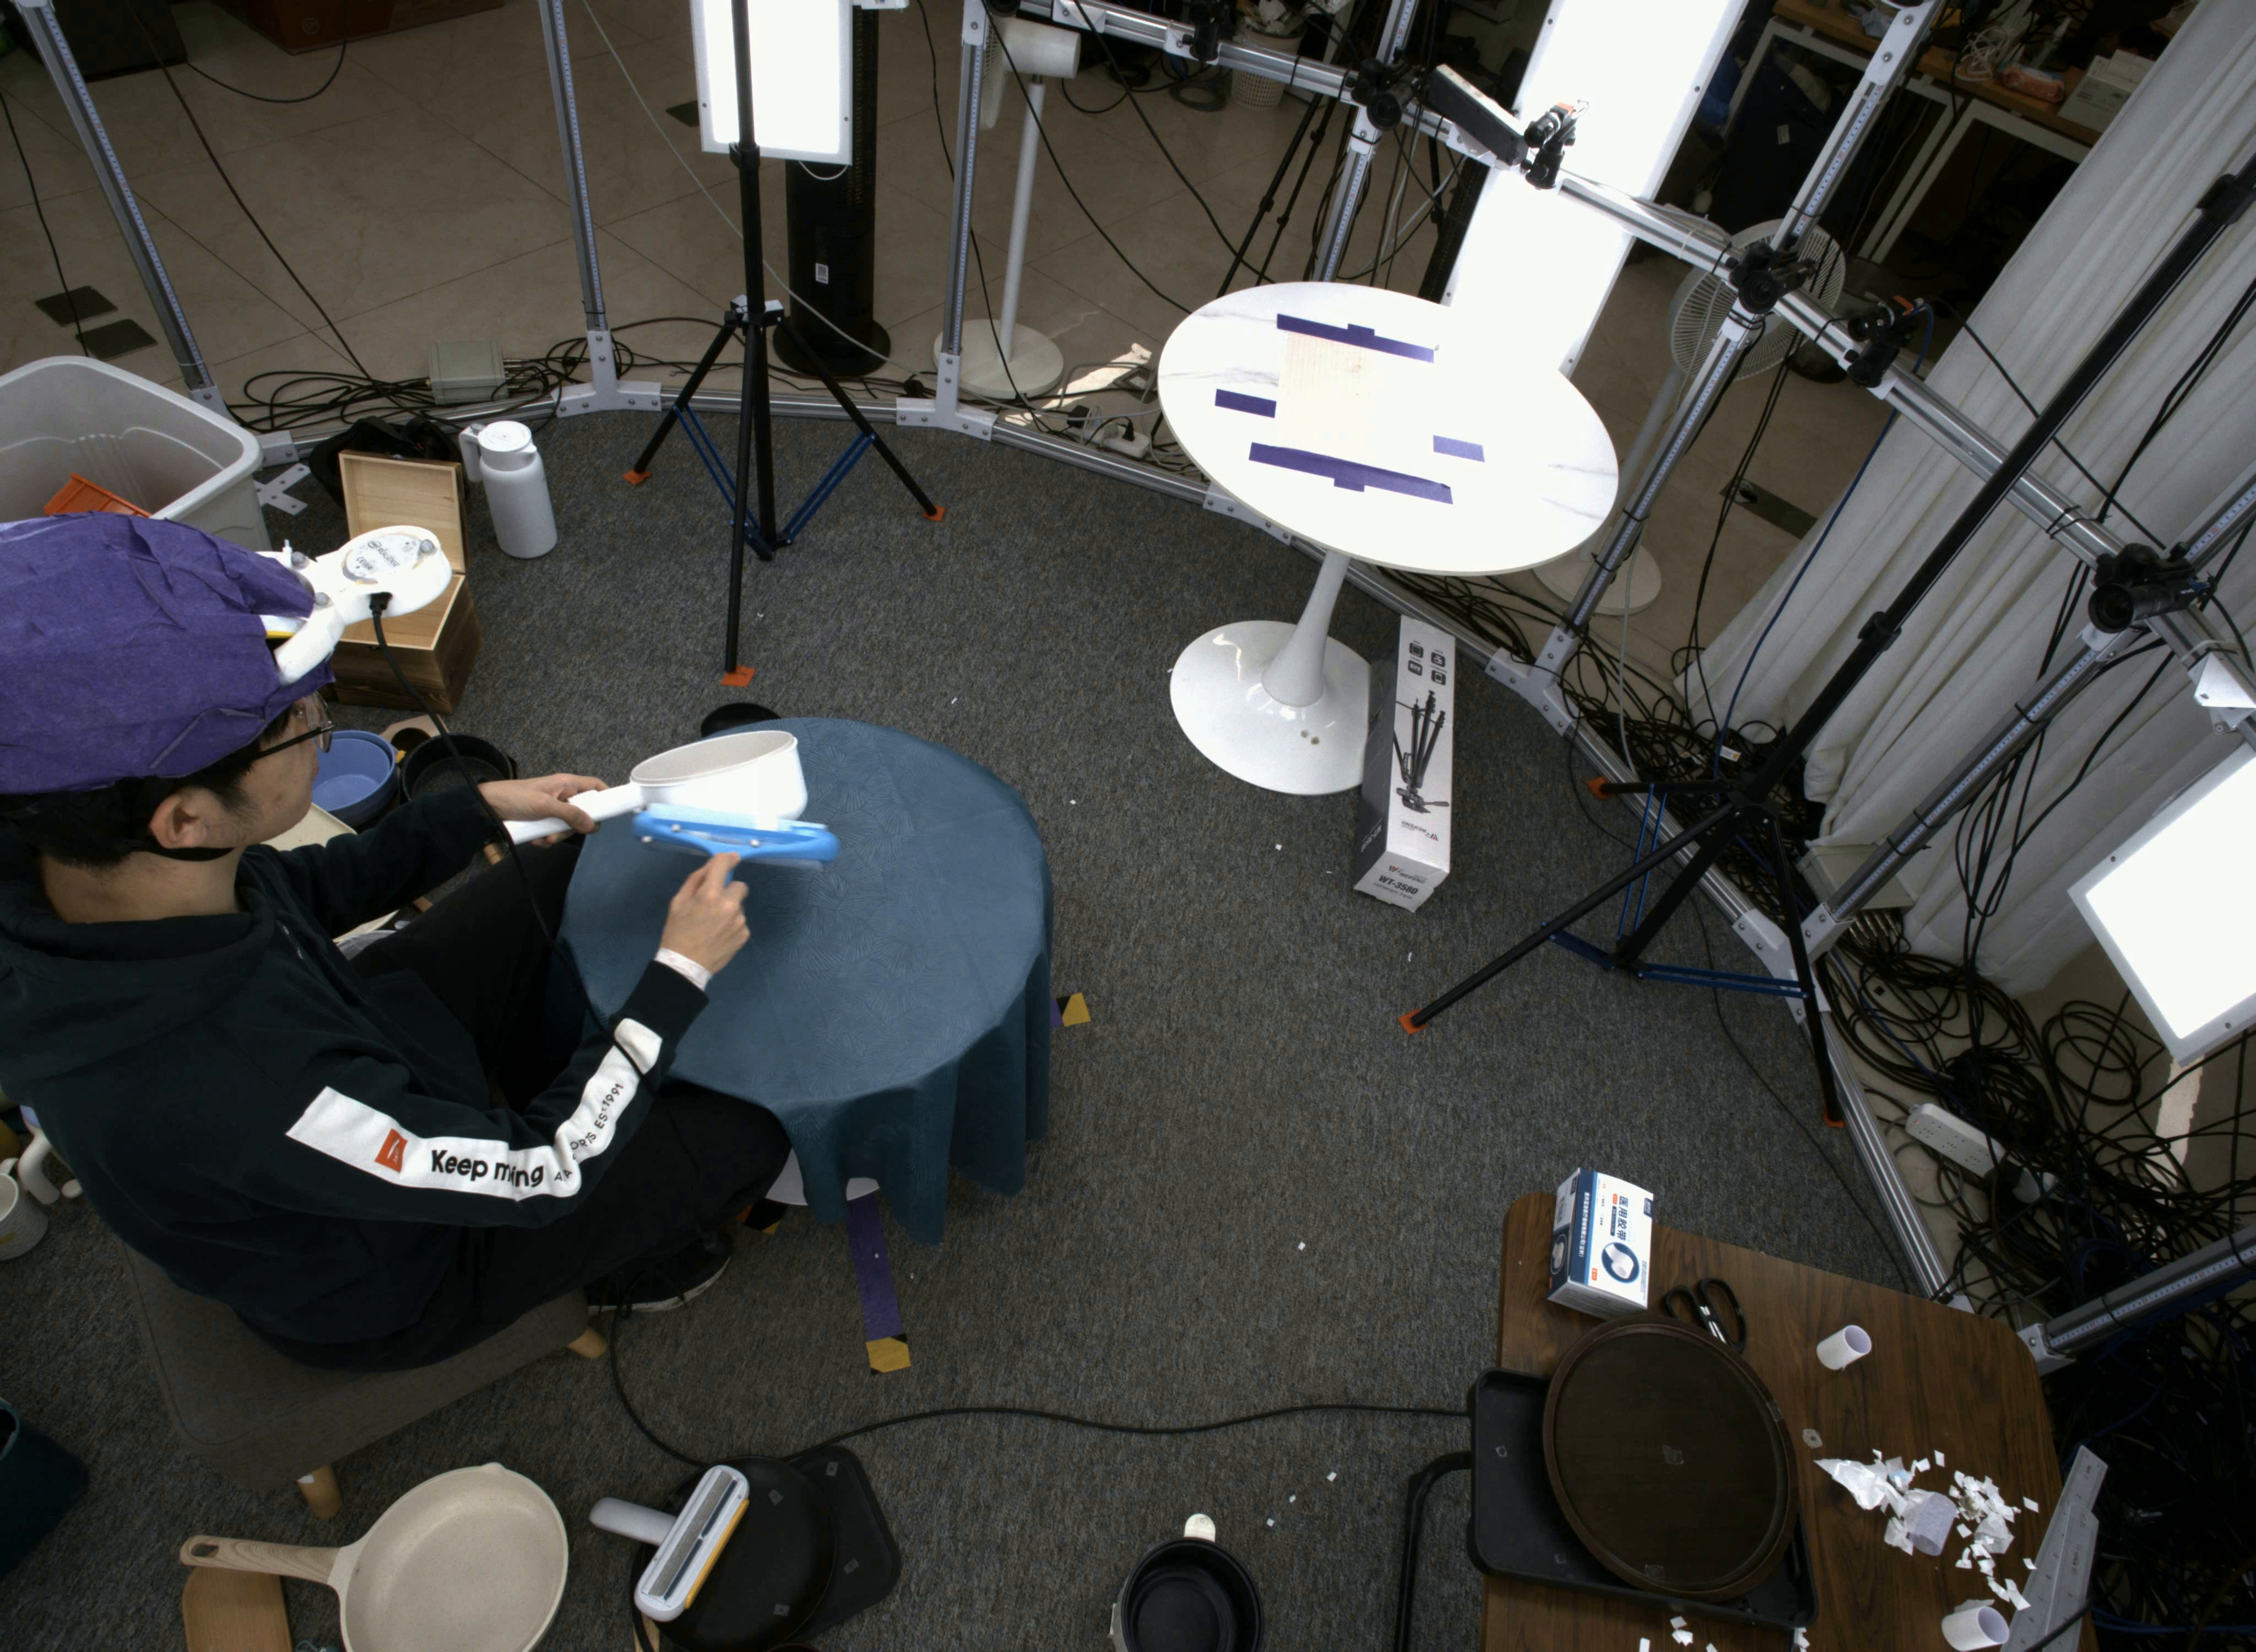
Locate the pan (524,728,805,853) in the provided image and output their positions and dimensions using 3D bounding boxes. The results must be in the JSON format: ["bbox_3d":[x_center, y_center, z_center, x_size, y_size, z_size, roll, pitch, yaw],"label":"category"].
[{"bbox_3d":[-0.554,-0.019,1.520,0.357,0.105,0.194,-21,20,-32],"label":"pan"}]

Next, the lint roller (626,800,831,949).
[{"bbox_3d":[-0.445,0.045,1.416,0.230,0.069,0.175,6,42,-15],"label":"lint roller"}]
